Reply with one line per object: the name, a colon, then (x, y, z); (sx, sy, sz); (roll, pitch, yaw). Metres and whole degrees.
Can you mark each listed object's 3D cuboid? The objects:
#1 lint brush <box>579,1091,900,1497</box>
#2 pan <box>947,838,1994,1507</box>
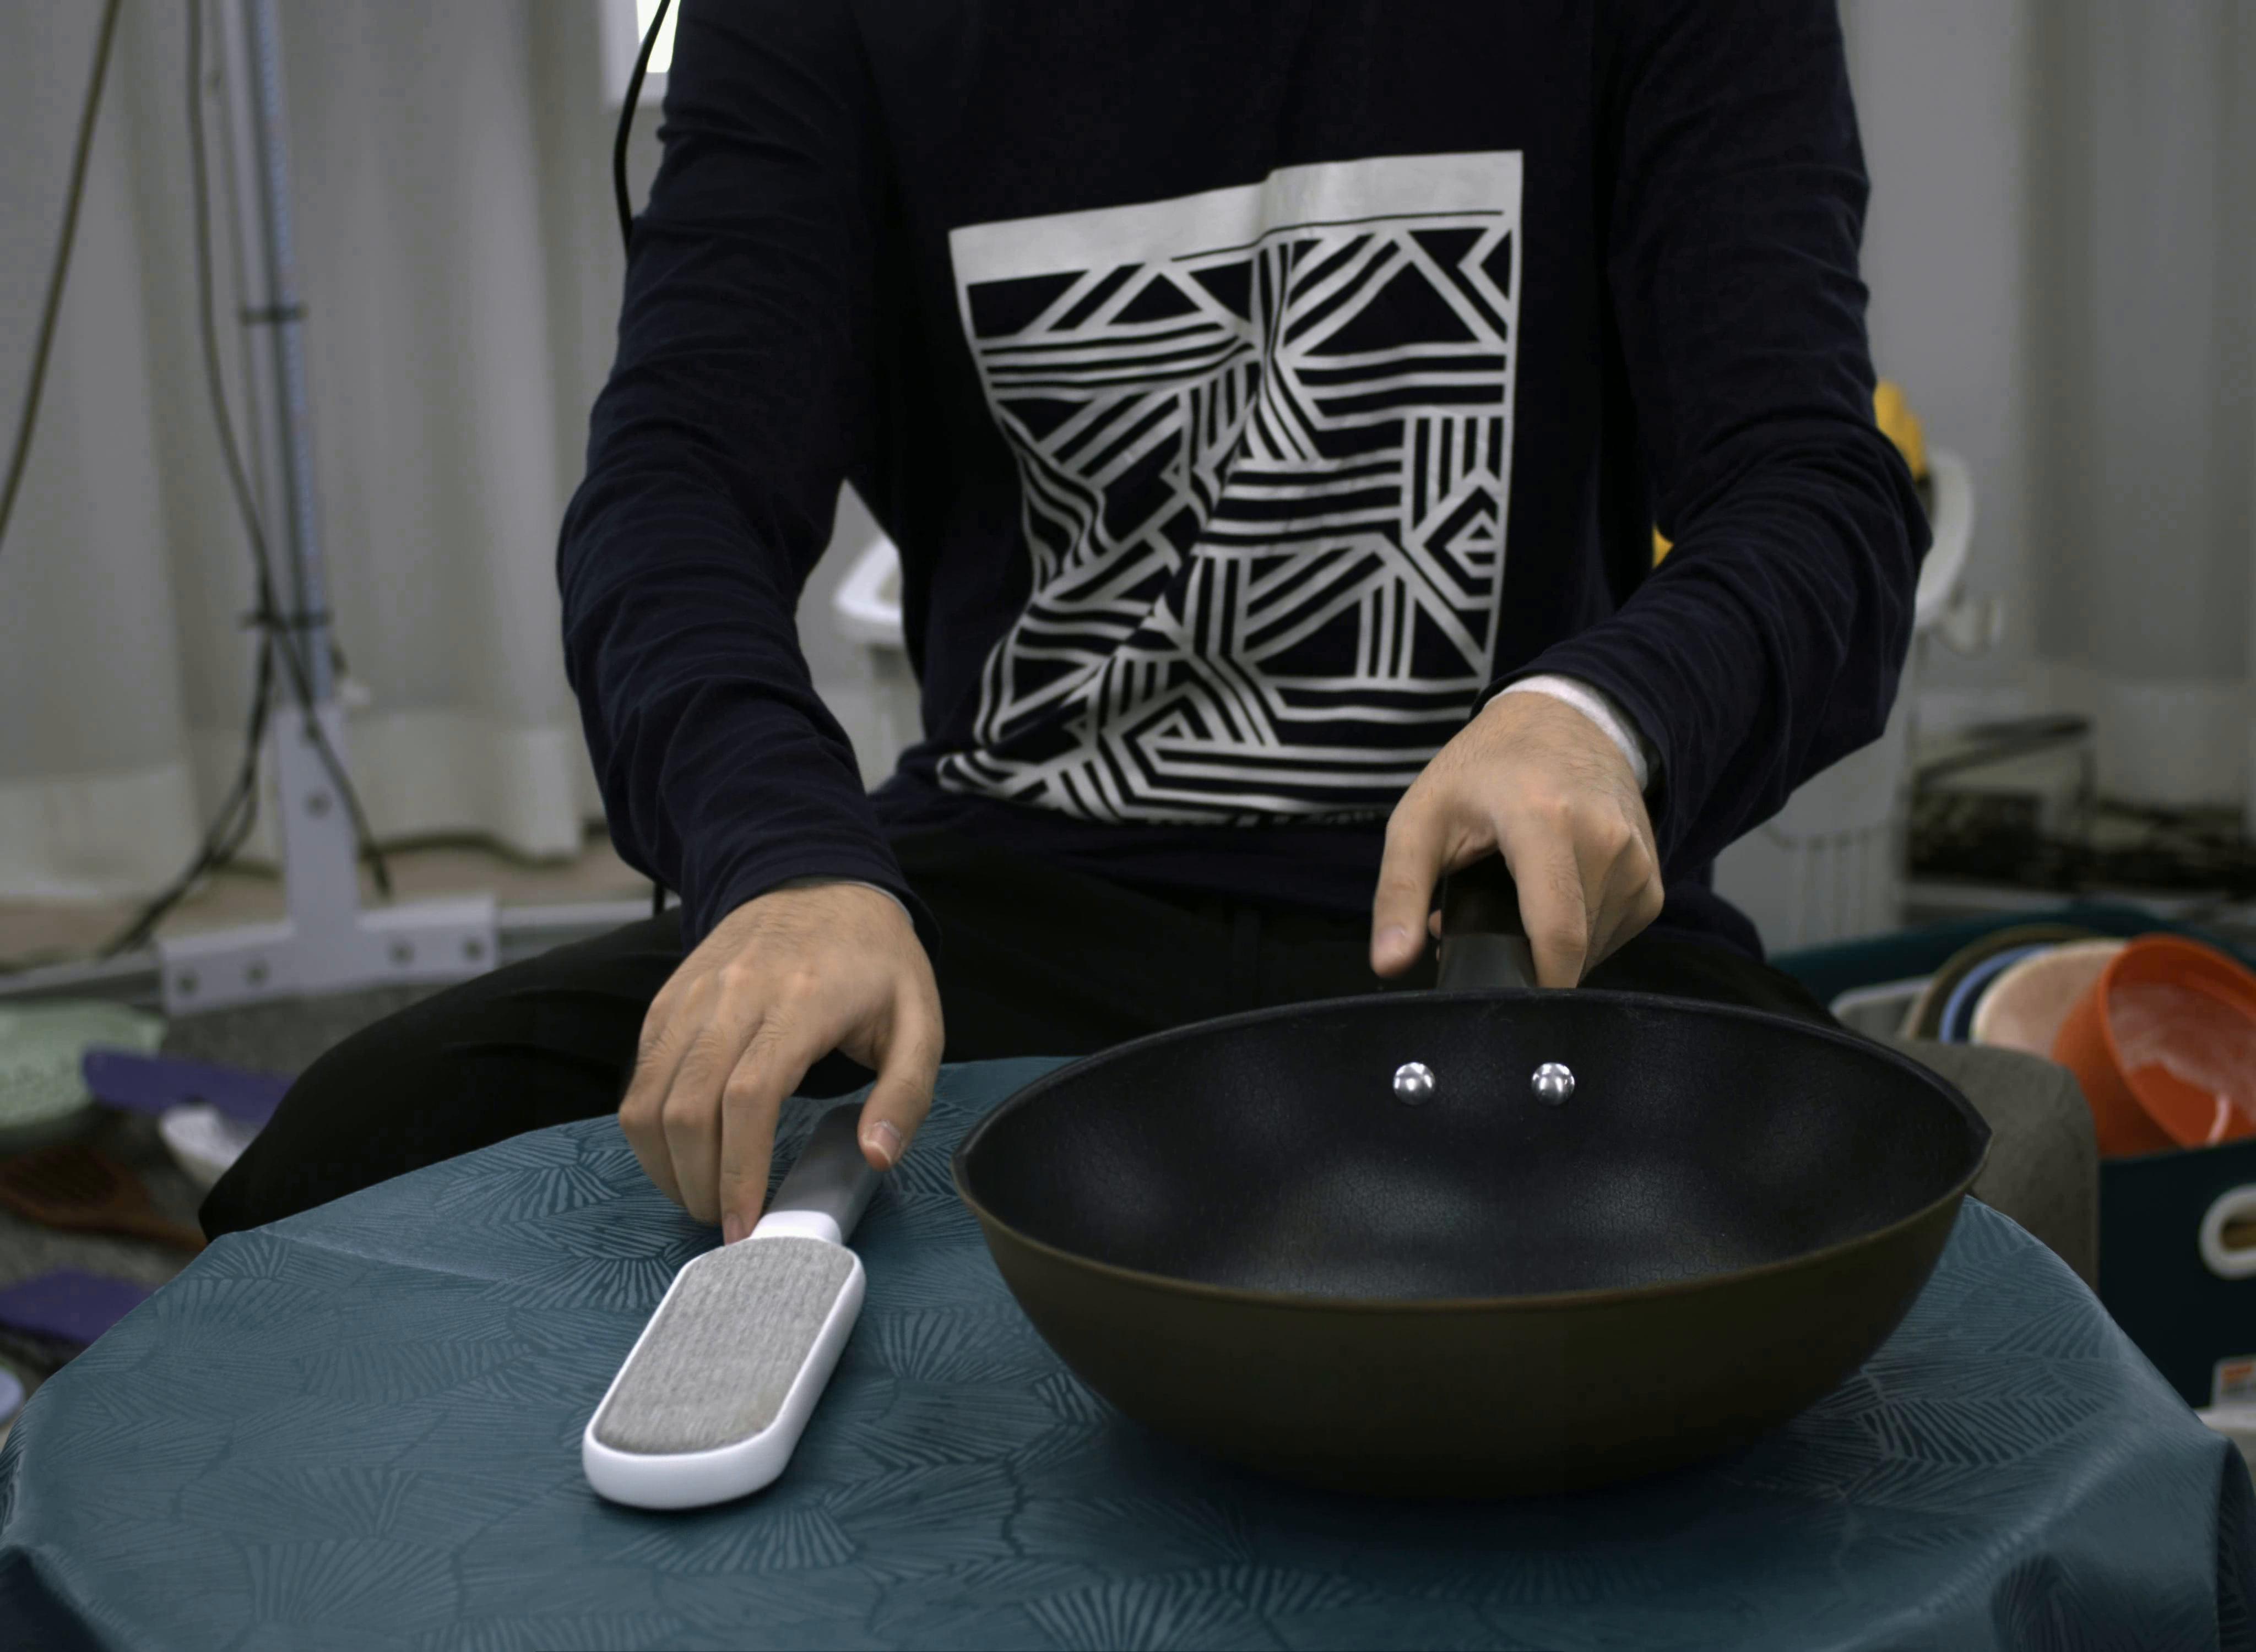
lint brush: (-0.103, 0.133, 1.609); (0.060, 0.021, 0.310); (-8, 14, 10)
pan: (0.103, 0.099, 1.598); (0.287, 0.086, 0.466); (-1, 15, 6)
